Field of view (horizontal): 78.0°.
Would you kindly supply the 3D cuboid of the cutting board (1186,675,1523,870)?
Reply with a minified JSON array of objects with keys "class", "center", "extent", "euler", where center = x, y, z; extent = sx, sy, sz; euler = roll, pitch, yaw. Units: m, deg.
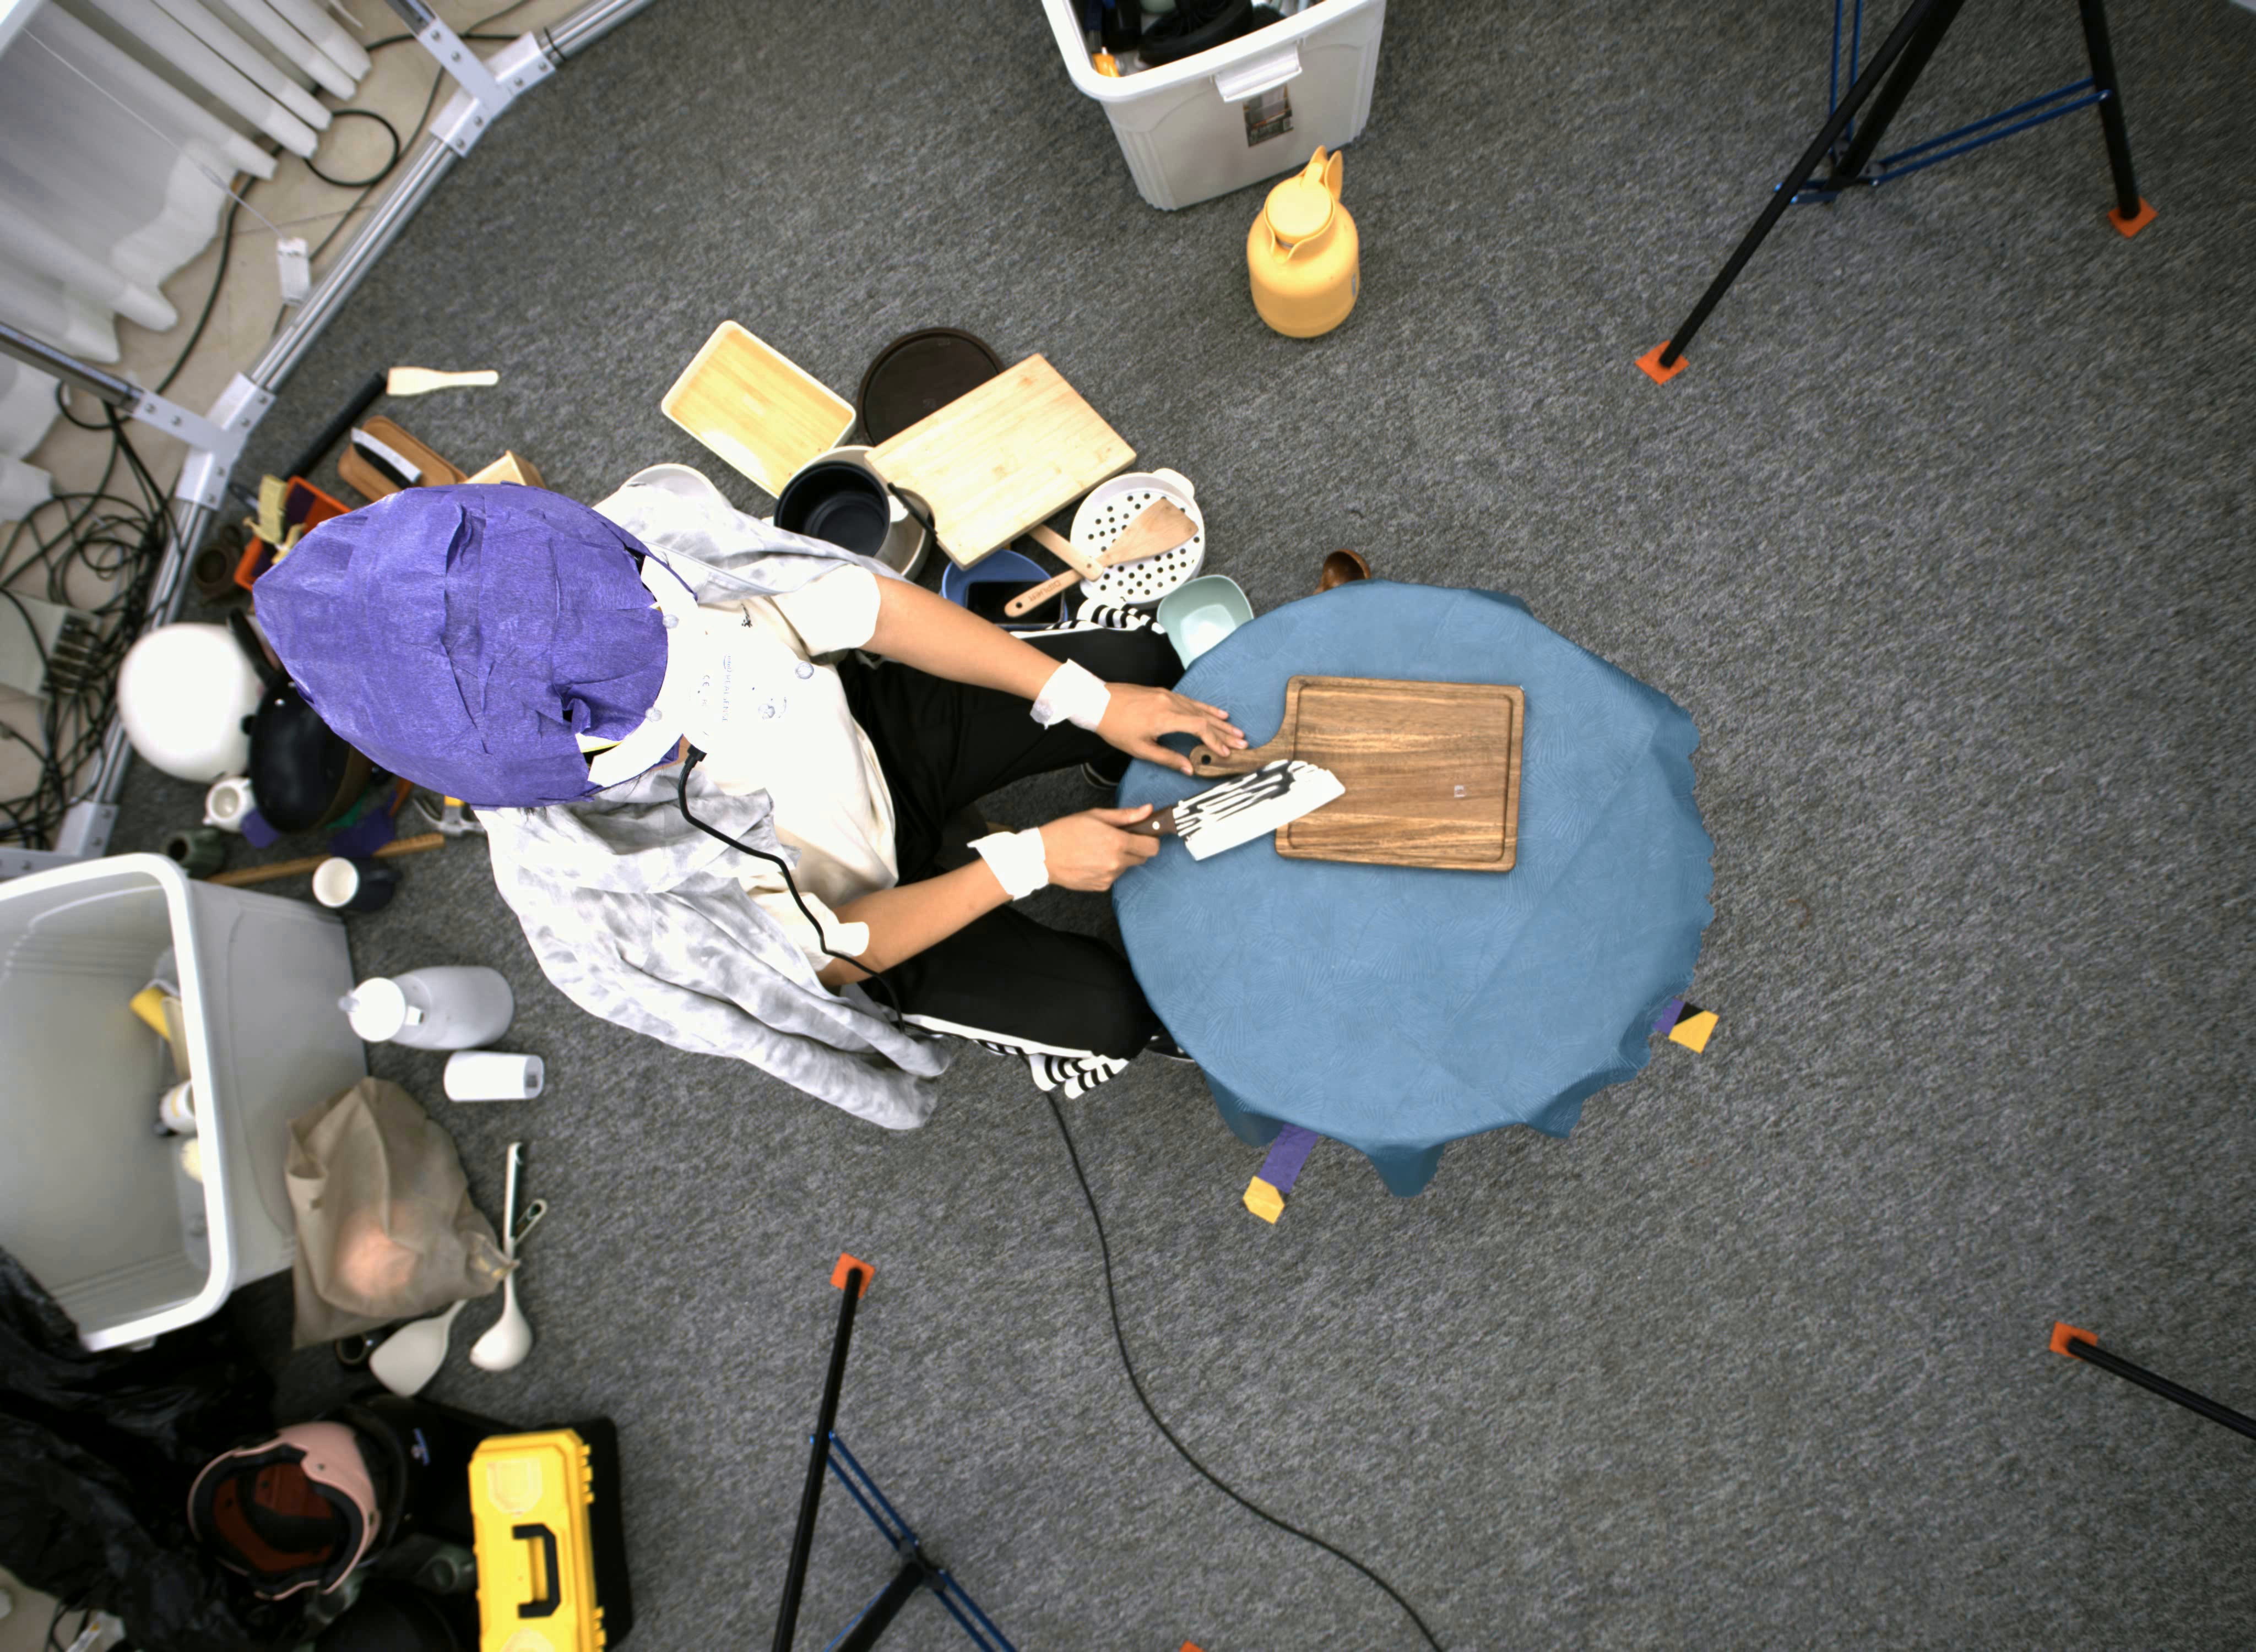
[{"class":"cutting board","center":[0.236,-0.062,1.461],"extent":[0.353,0.023,0.200],"euler":[3,87,11]}]

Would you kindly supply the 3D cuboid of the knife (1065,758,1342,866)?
[{"class":"knife","center":[0.079,-0.005,1.469],"extent":[0.301,0.023,0.068],"euler":[-22,103,10]}]
